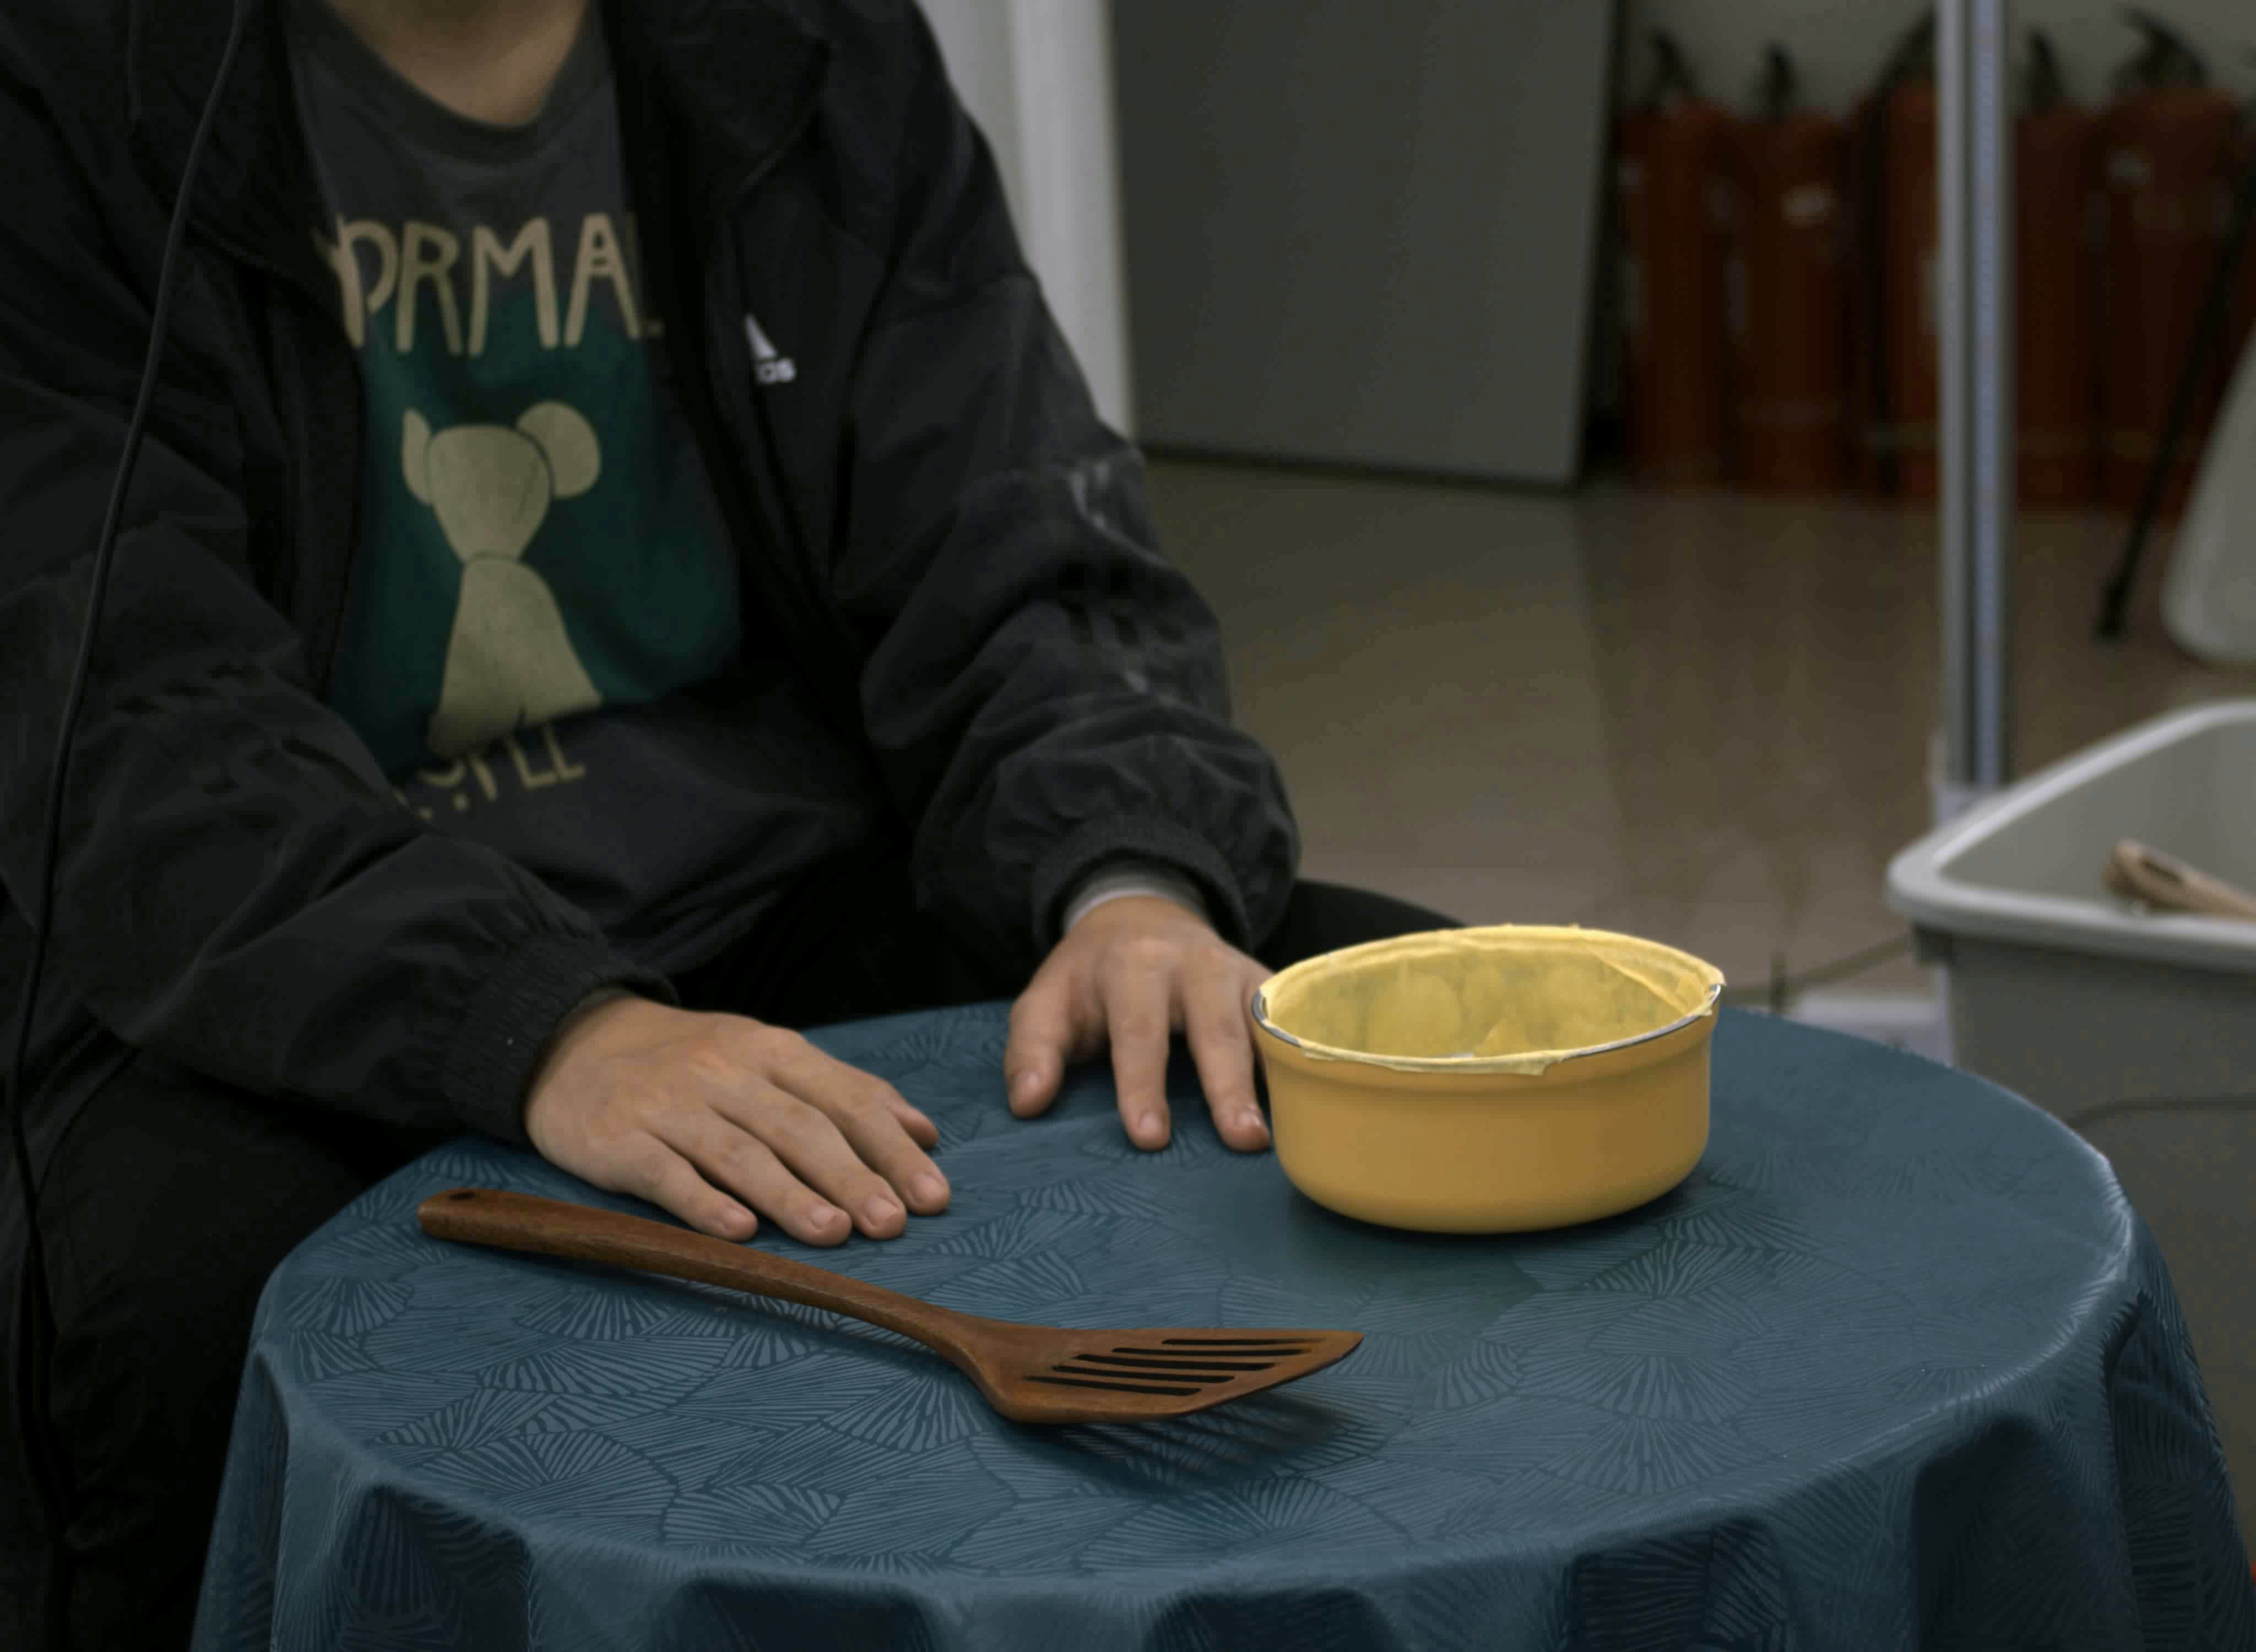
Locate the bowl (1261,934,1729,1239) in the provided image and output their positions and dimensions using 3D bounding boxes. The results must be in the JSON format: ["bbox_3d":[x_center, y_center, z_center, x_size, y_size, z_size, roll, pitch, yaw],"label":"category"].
[{"bbox_3d":[0.122,0.083,1.758,0.152,0.075,0.178,-1,14,11],"label":"bowl"}]

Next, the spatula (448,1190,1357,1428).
[{"bbox_3d":[-0.087,0.147,1.657,0.084,0.024,0.390,-16,16,-42],"label":"spatula"}]
